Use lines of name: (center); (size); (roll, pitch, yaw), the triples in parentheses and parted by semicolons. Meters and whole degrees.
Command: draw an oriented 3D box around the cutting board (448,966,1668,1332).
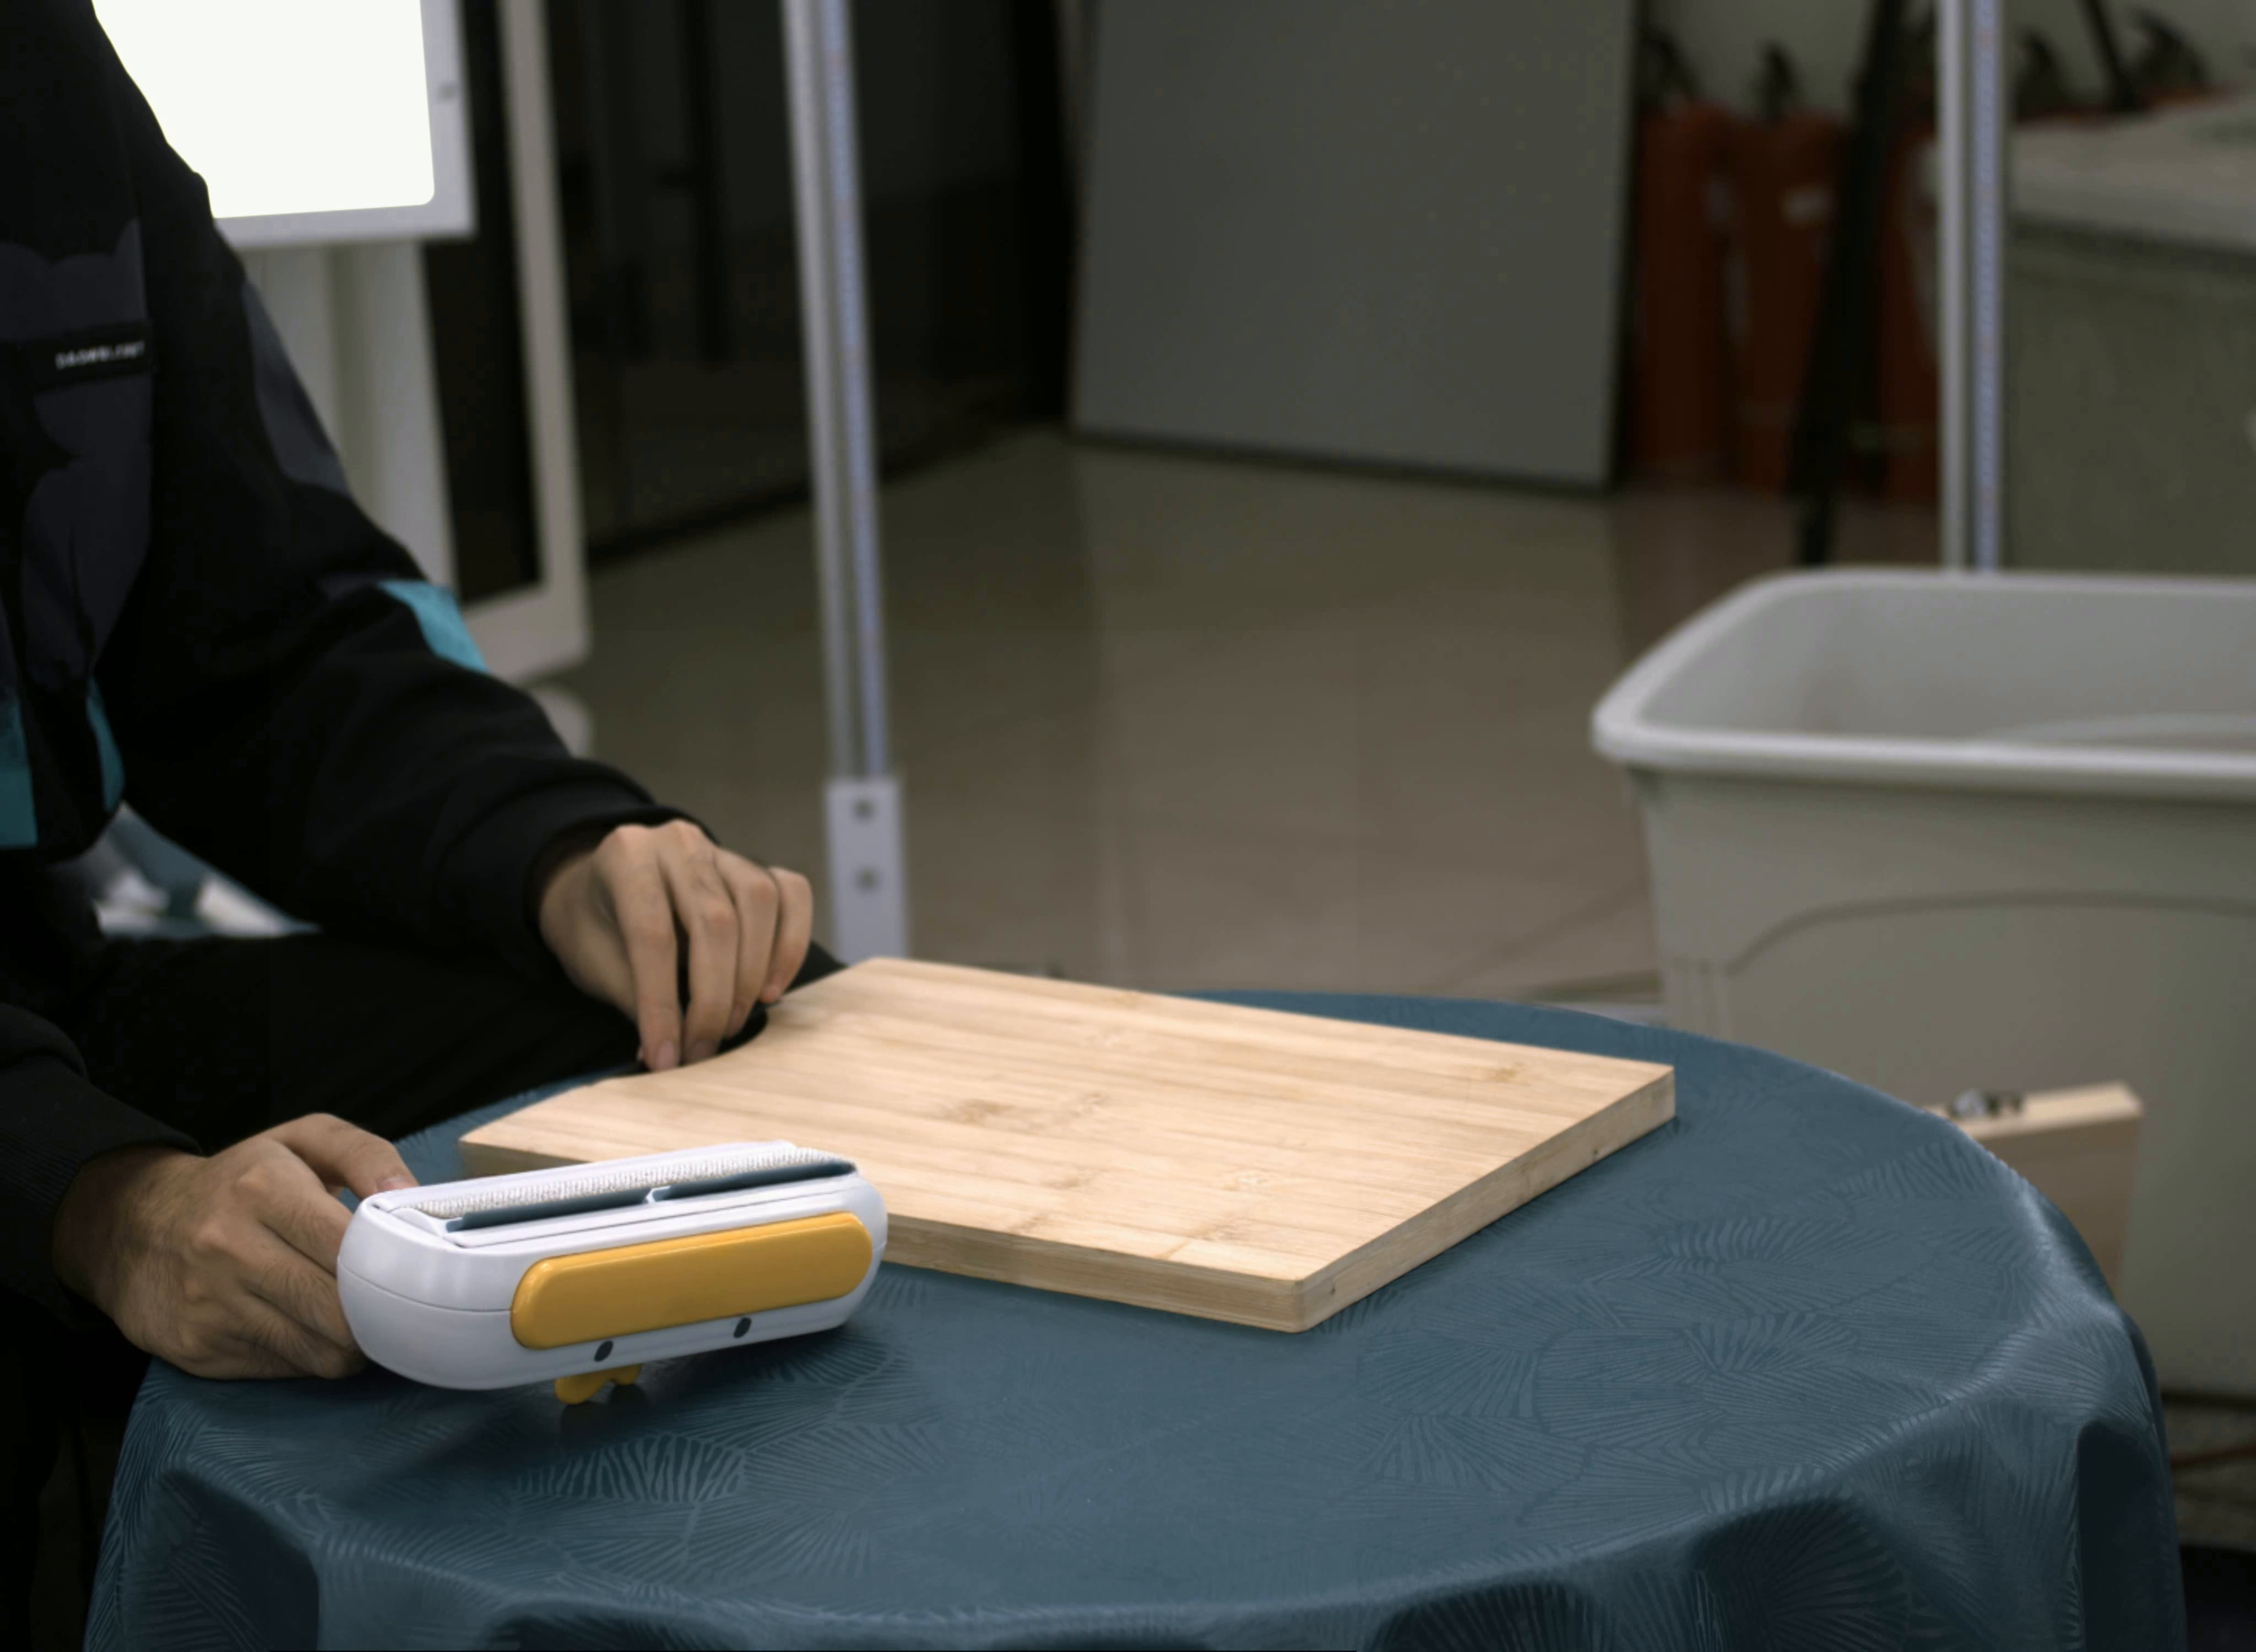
cutting board: (-0.024, 0.104, 1.818); (0.351, 0.024, 0.246); (6, 17, 35)

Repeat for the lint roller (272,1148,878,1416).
lint roller: (-0.196, 0.131, 1.647); (0.188, 0.075, 0.194); (-10, 12, -43)
